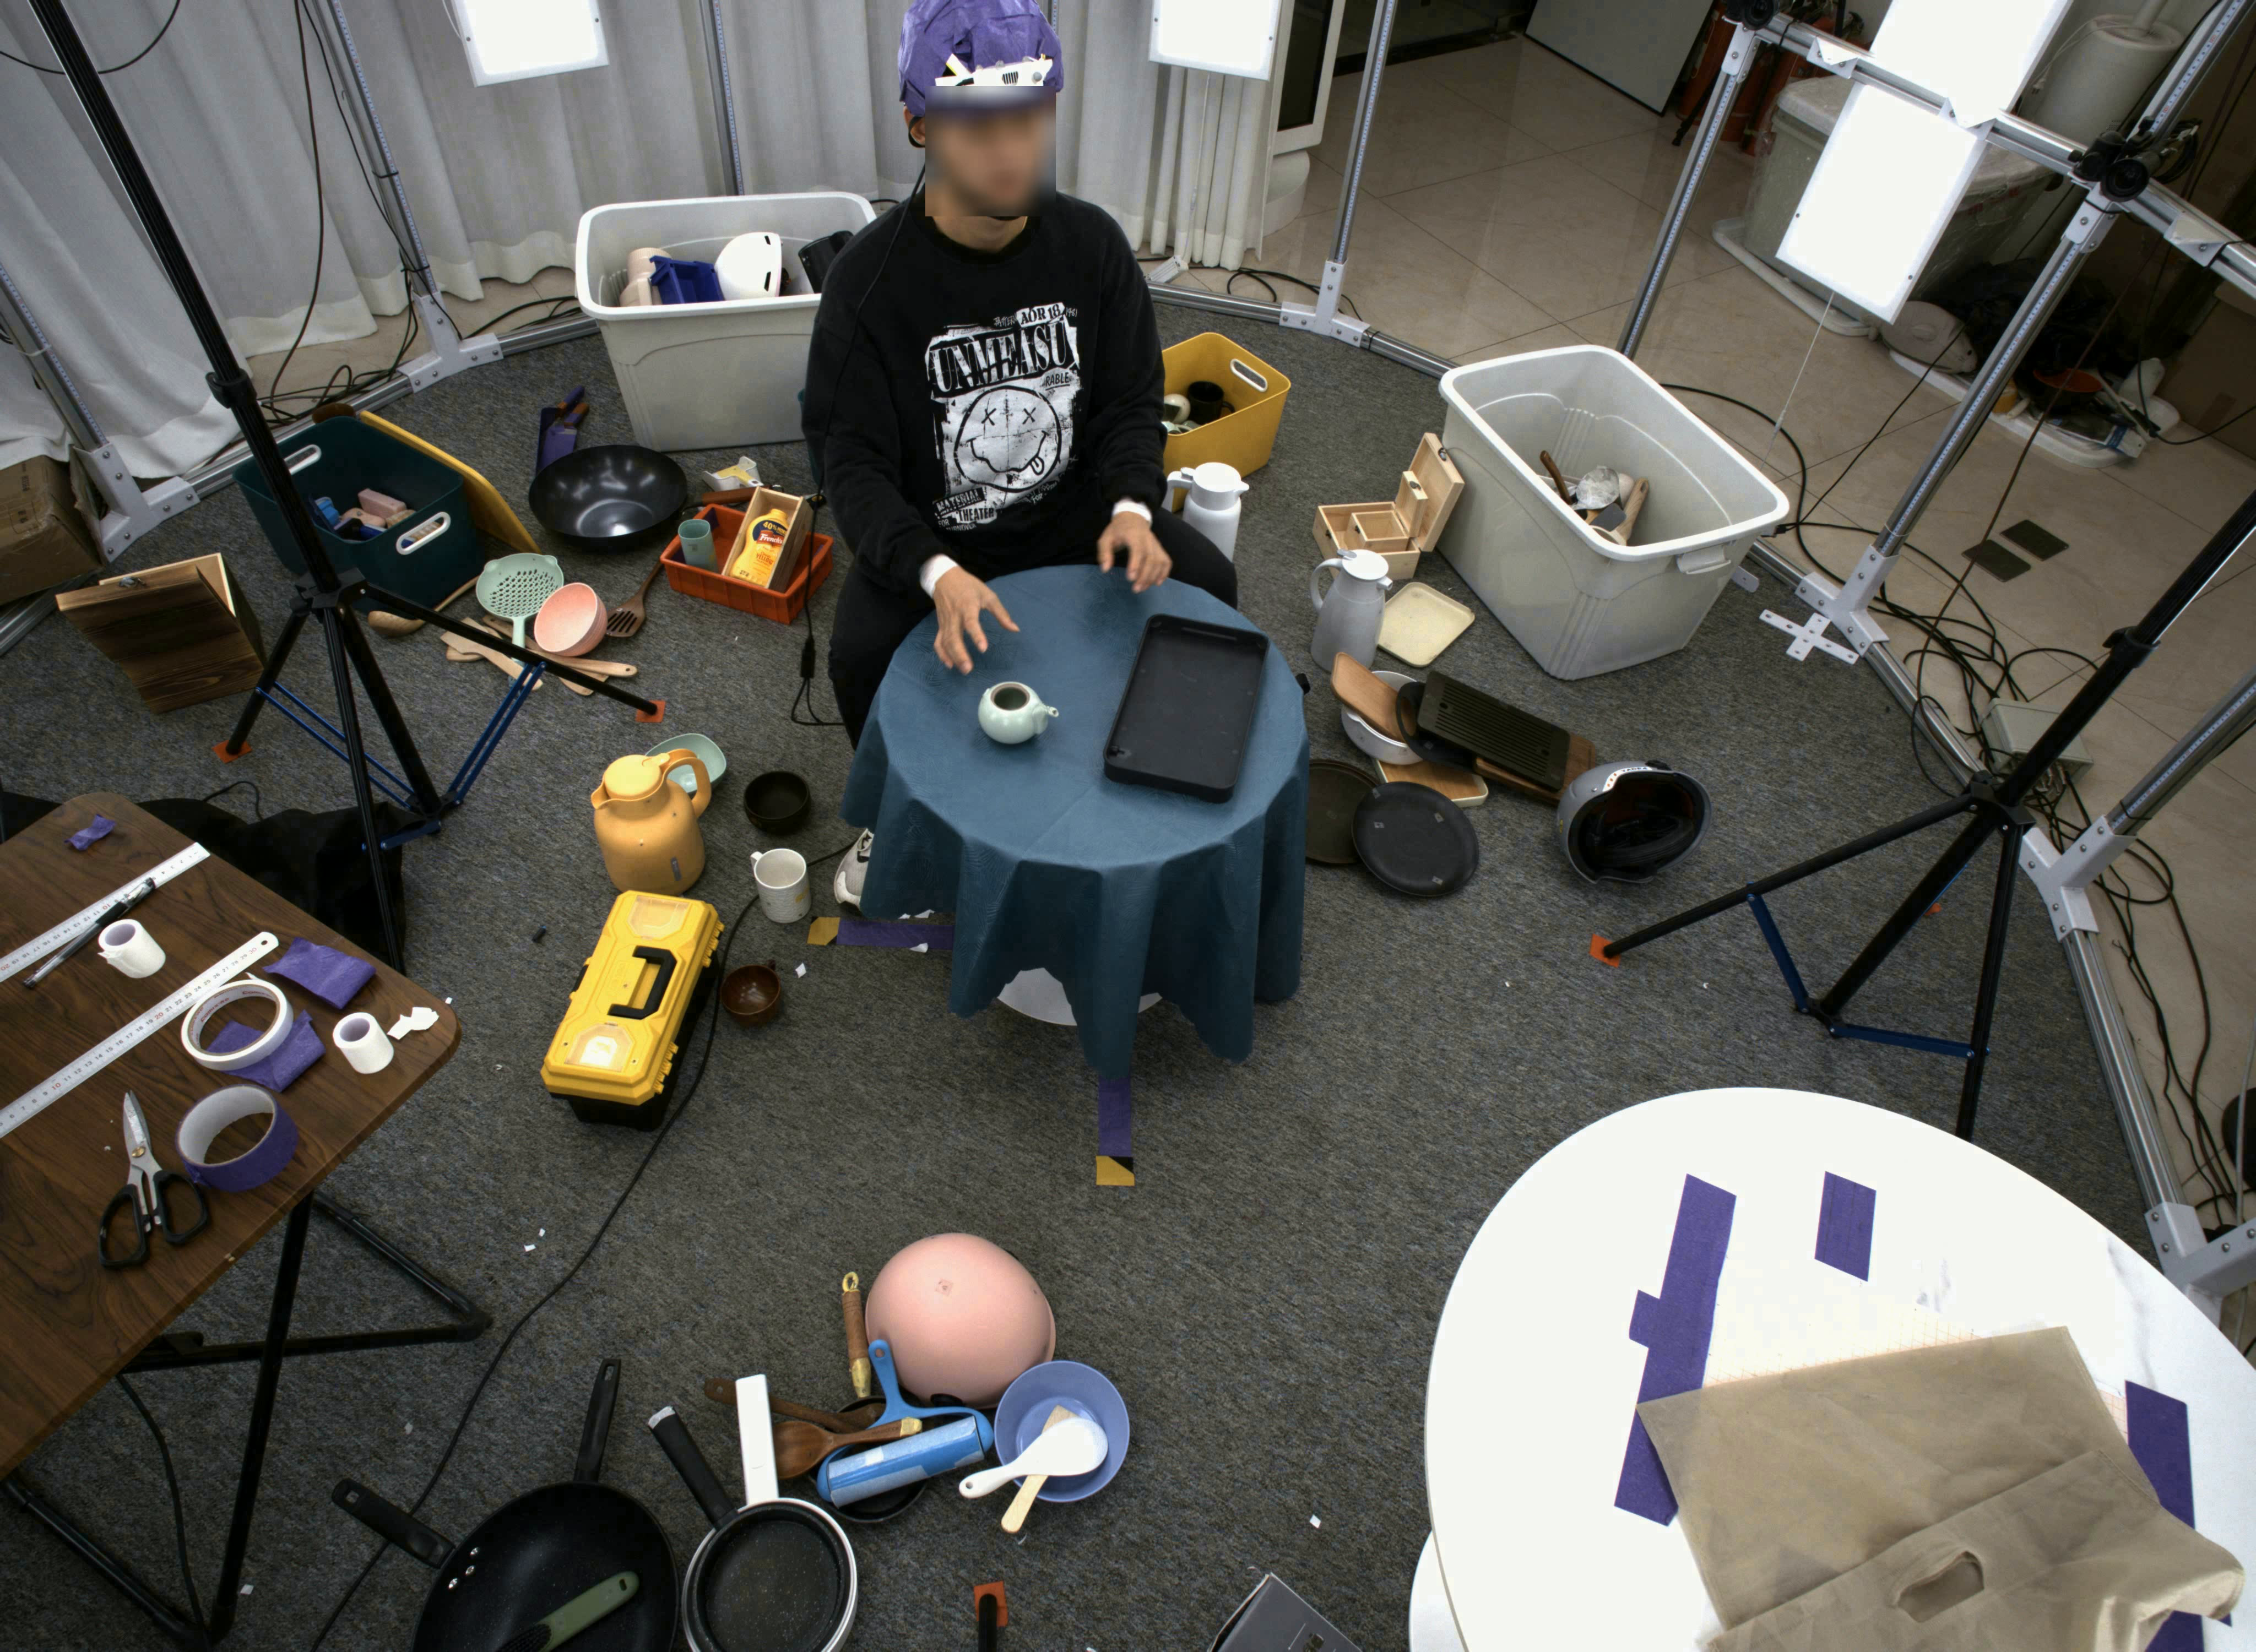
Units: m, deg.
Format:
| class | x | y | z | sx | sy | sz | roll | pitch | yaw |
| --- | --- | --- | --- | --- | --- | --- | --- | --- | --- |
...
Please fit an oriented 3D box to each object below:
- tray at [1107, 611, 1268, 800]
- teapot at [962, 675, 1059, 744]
| class | x | y | z | sx | sy | sz | roll | pitch | yaw |
| --- | --- | --- | --- | --- | --- | --- | --- | --- | --- |
| tray | 0.088 | -0.176 | 1.804 | 0.184 | 0.036 | 0.325 | 10 | 50 | 6 |
| teapot | -0.160 | -0.155 | 1.747 | 0.145 | 0.073 | 0.090 | 24 | 52 | 14 |
